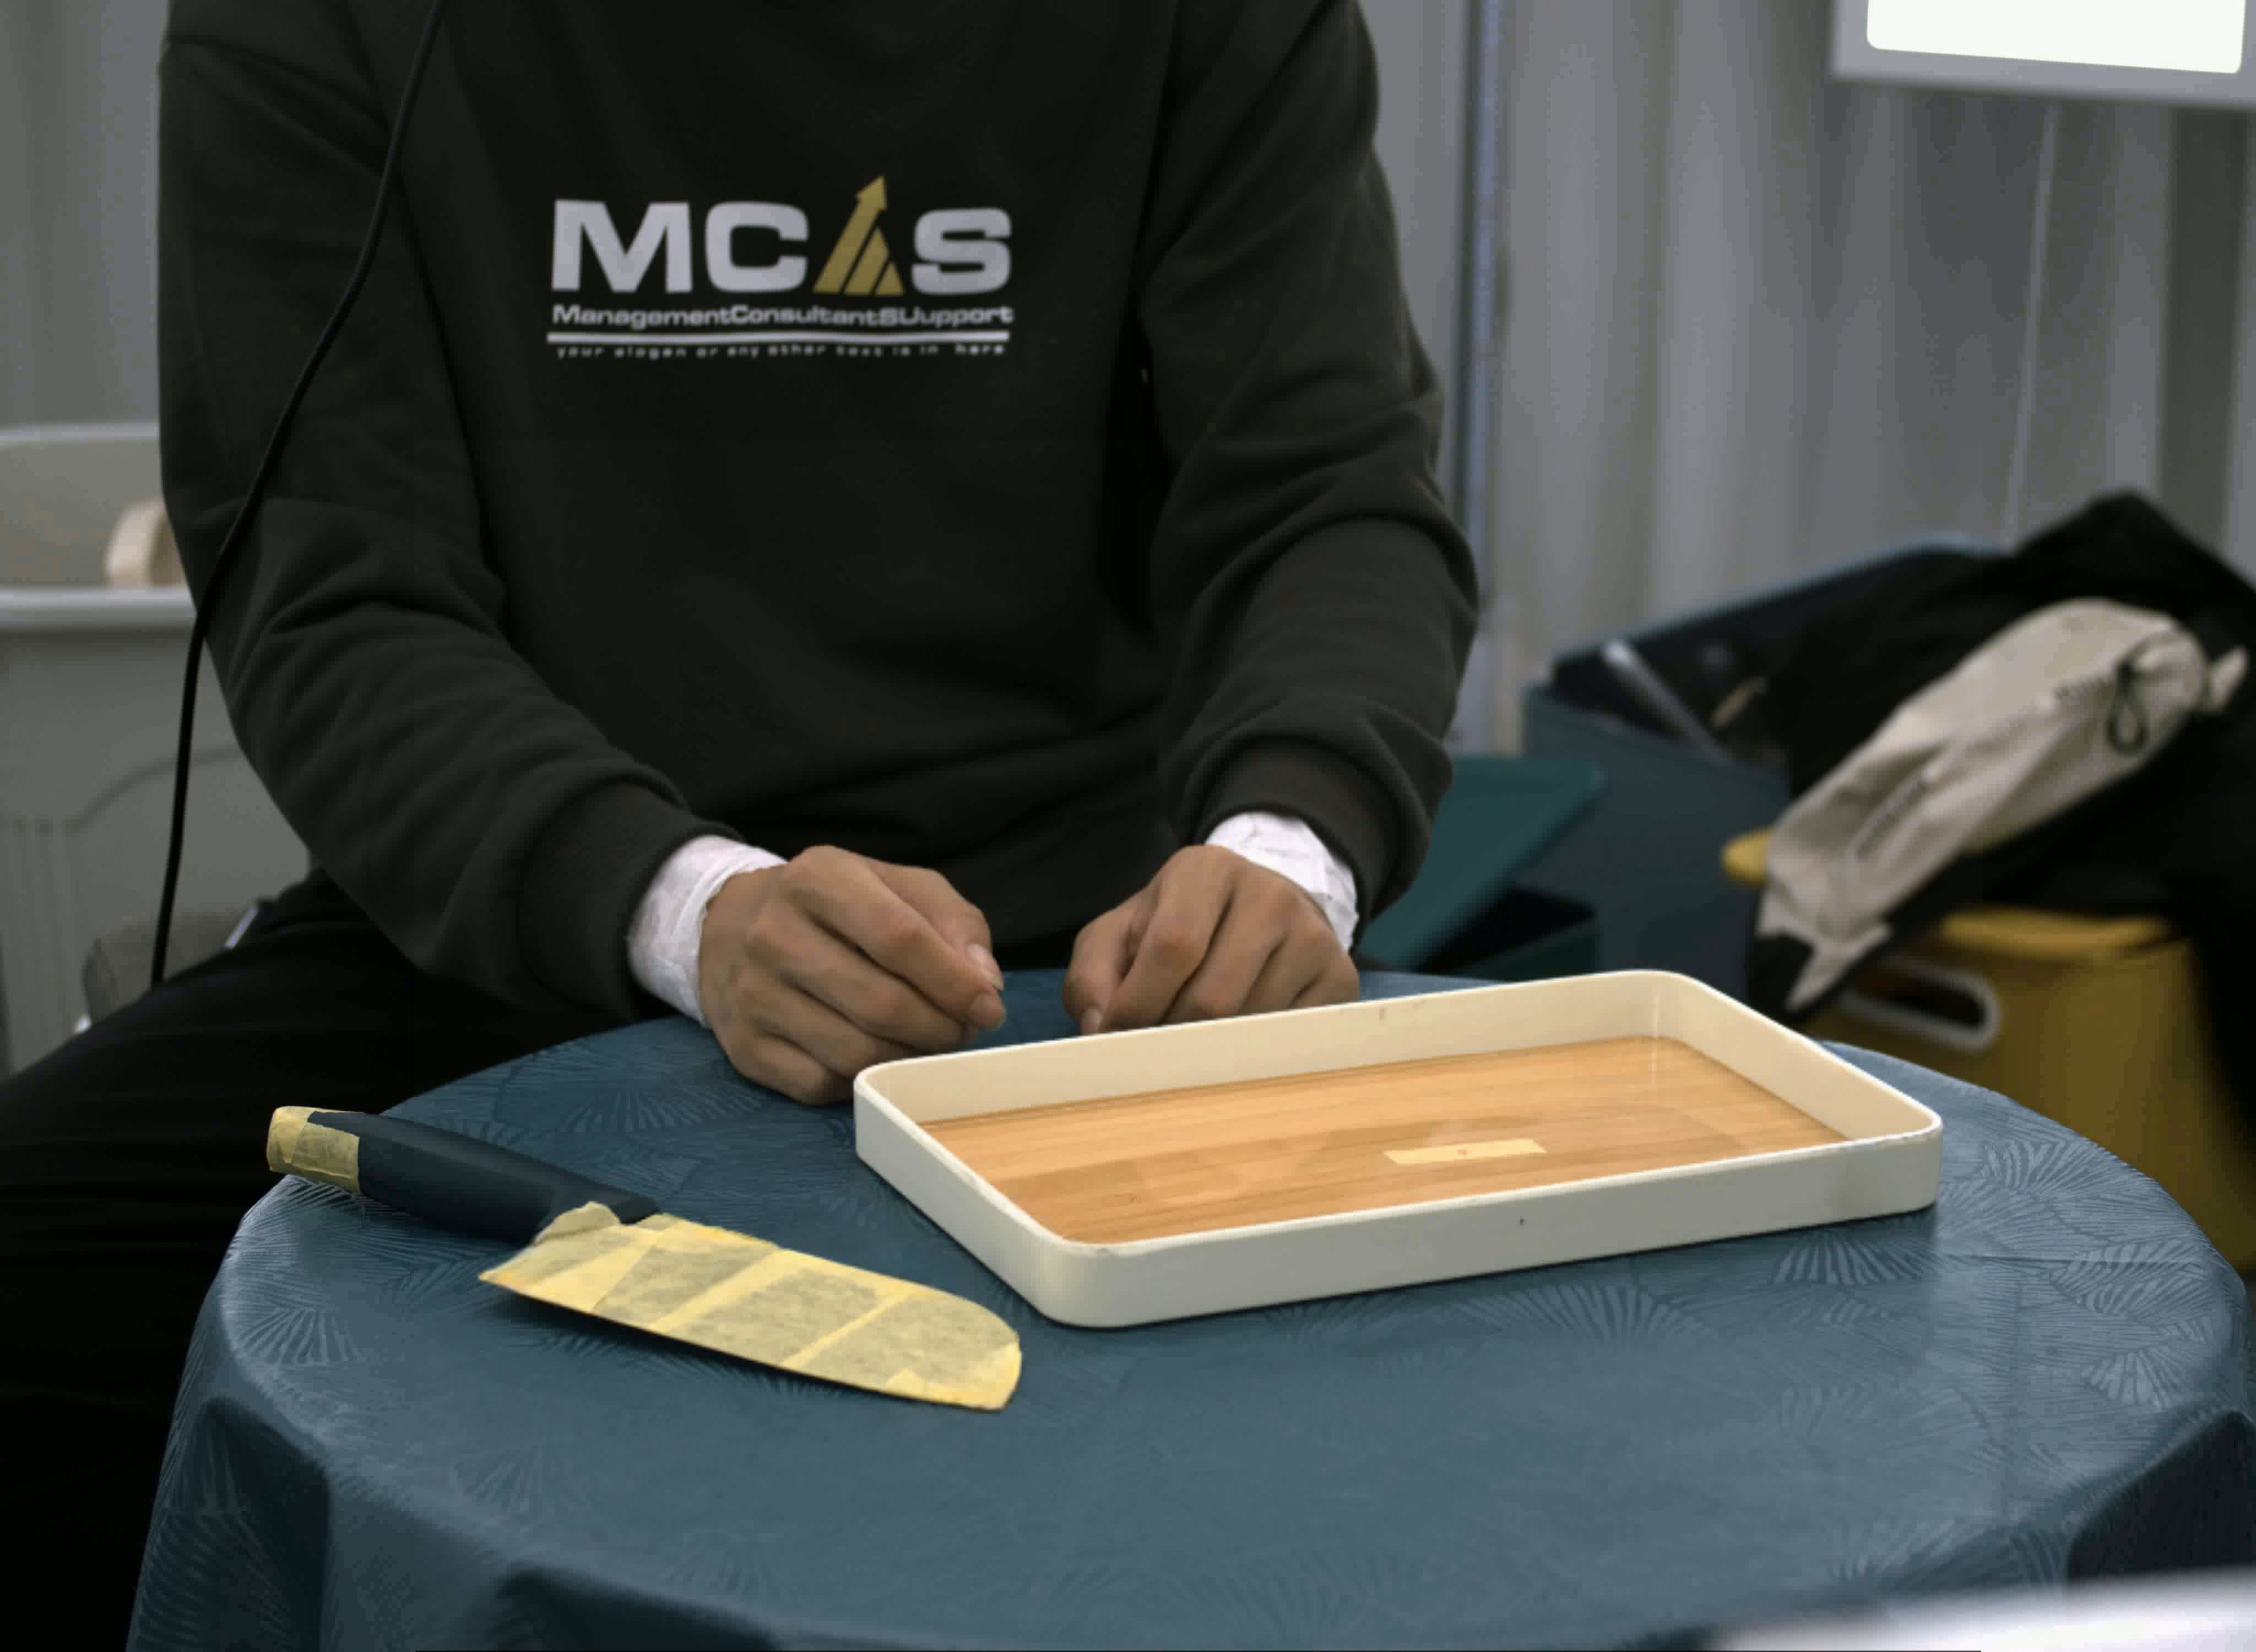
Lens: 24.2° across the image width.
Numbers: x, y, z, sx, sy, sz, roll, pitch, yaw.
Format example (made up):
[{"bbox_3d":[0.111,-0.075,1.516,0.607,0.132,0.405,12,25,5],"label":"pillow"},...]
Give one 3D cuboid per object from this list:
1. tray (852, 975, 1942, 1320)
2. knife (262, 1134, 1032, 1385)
[{"bbox_3d":[0.082,0.096,1.637,0.301,0.027,0.189,-6,15,-23],"label":"tray"},{"bbox_3d":[-0.149,0.128,1.535,0.286,0.027,0.081,11,17,31],"label":"knife"}]
